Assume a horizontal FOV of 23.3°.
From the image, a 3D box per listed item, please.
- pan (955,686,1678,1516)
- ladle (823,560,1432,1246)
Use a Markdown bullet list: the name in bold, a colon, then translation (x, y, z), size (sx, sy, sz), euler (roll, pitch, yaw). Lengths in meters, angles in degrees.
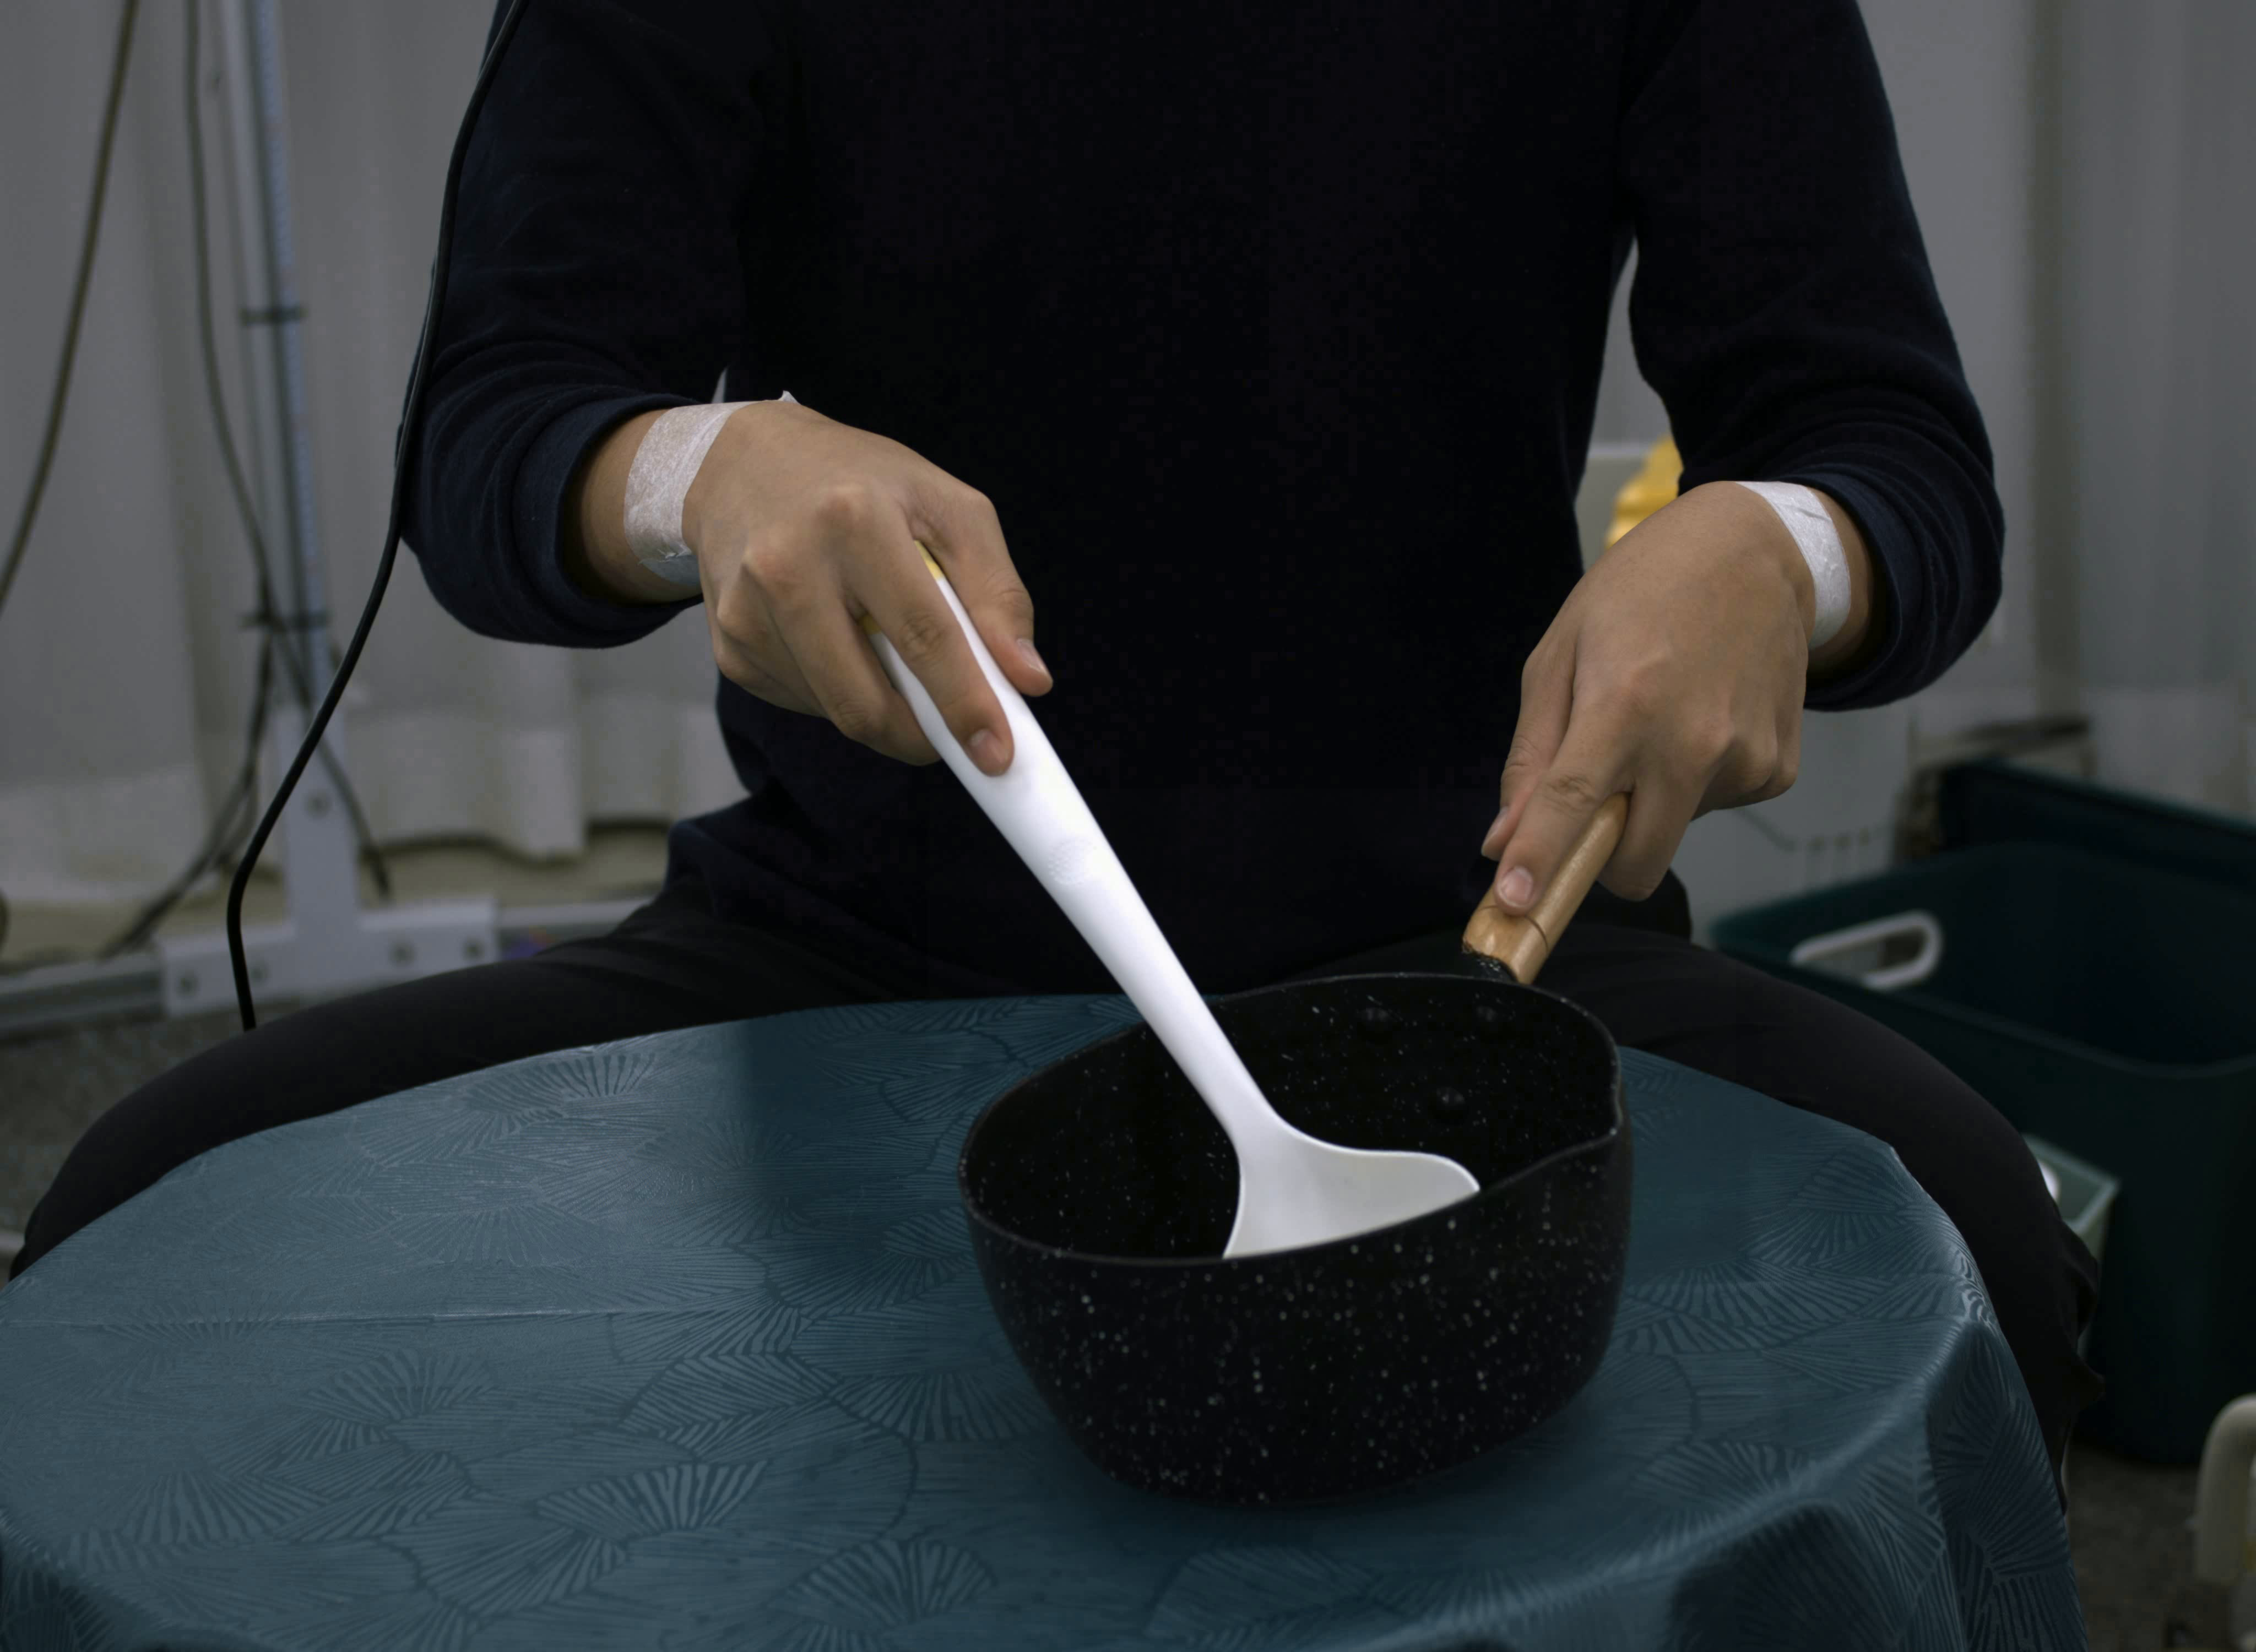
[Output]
- **pan**: translation (0.085, 0.074, 1.561), size (0.208, 0.107, 0.344), euler (-1, 23, 30)
- **ladle**: translation (-0.007, 0.041, 1.549), size (0.090, 0.296, 0.069), euler (-38, -21, 11)
